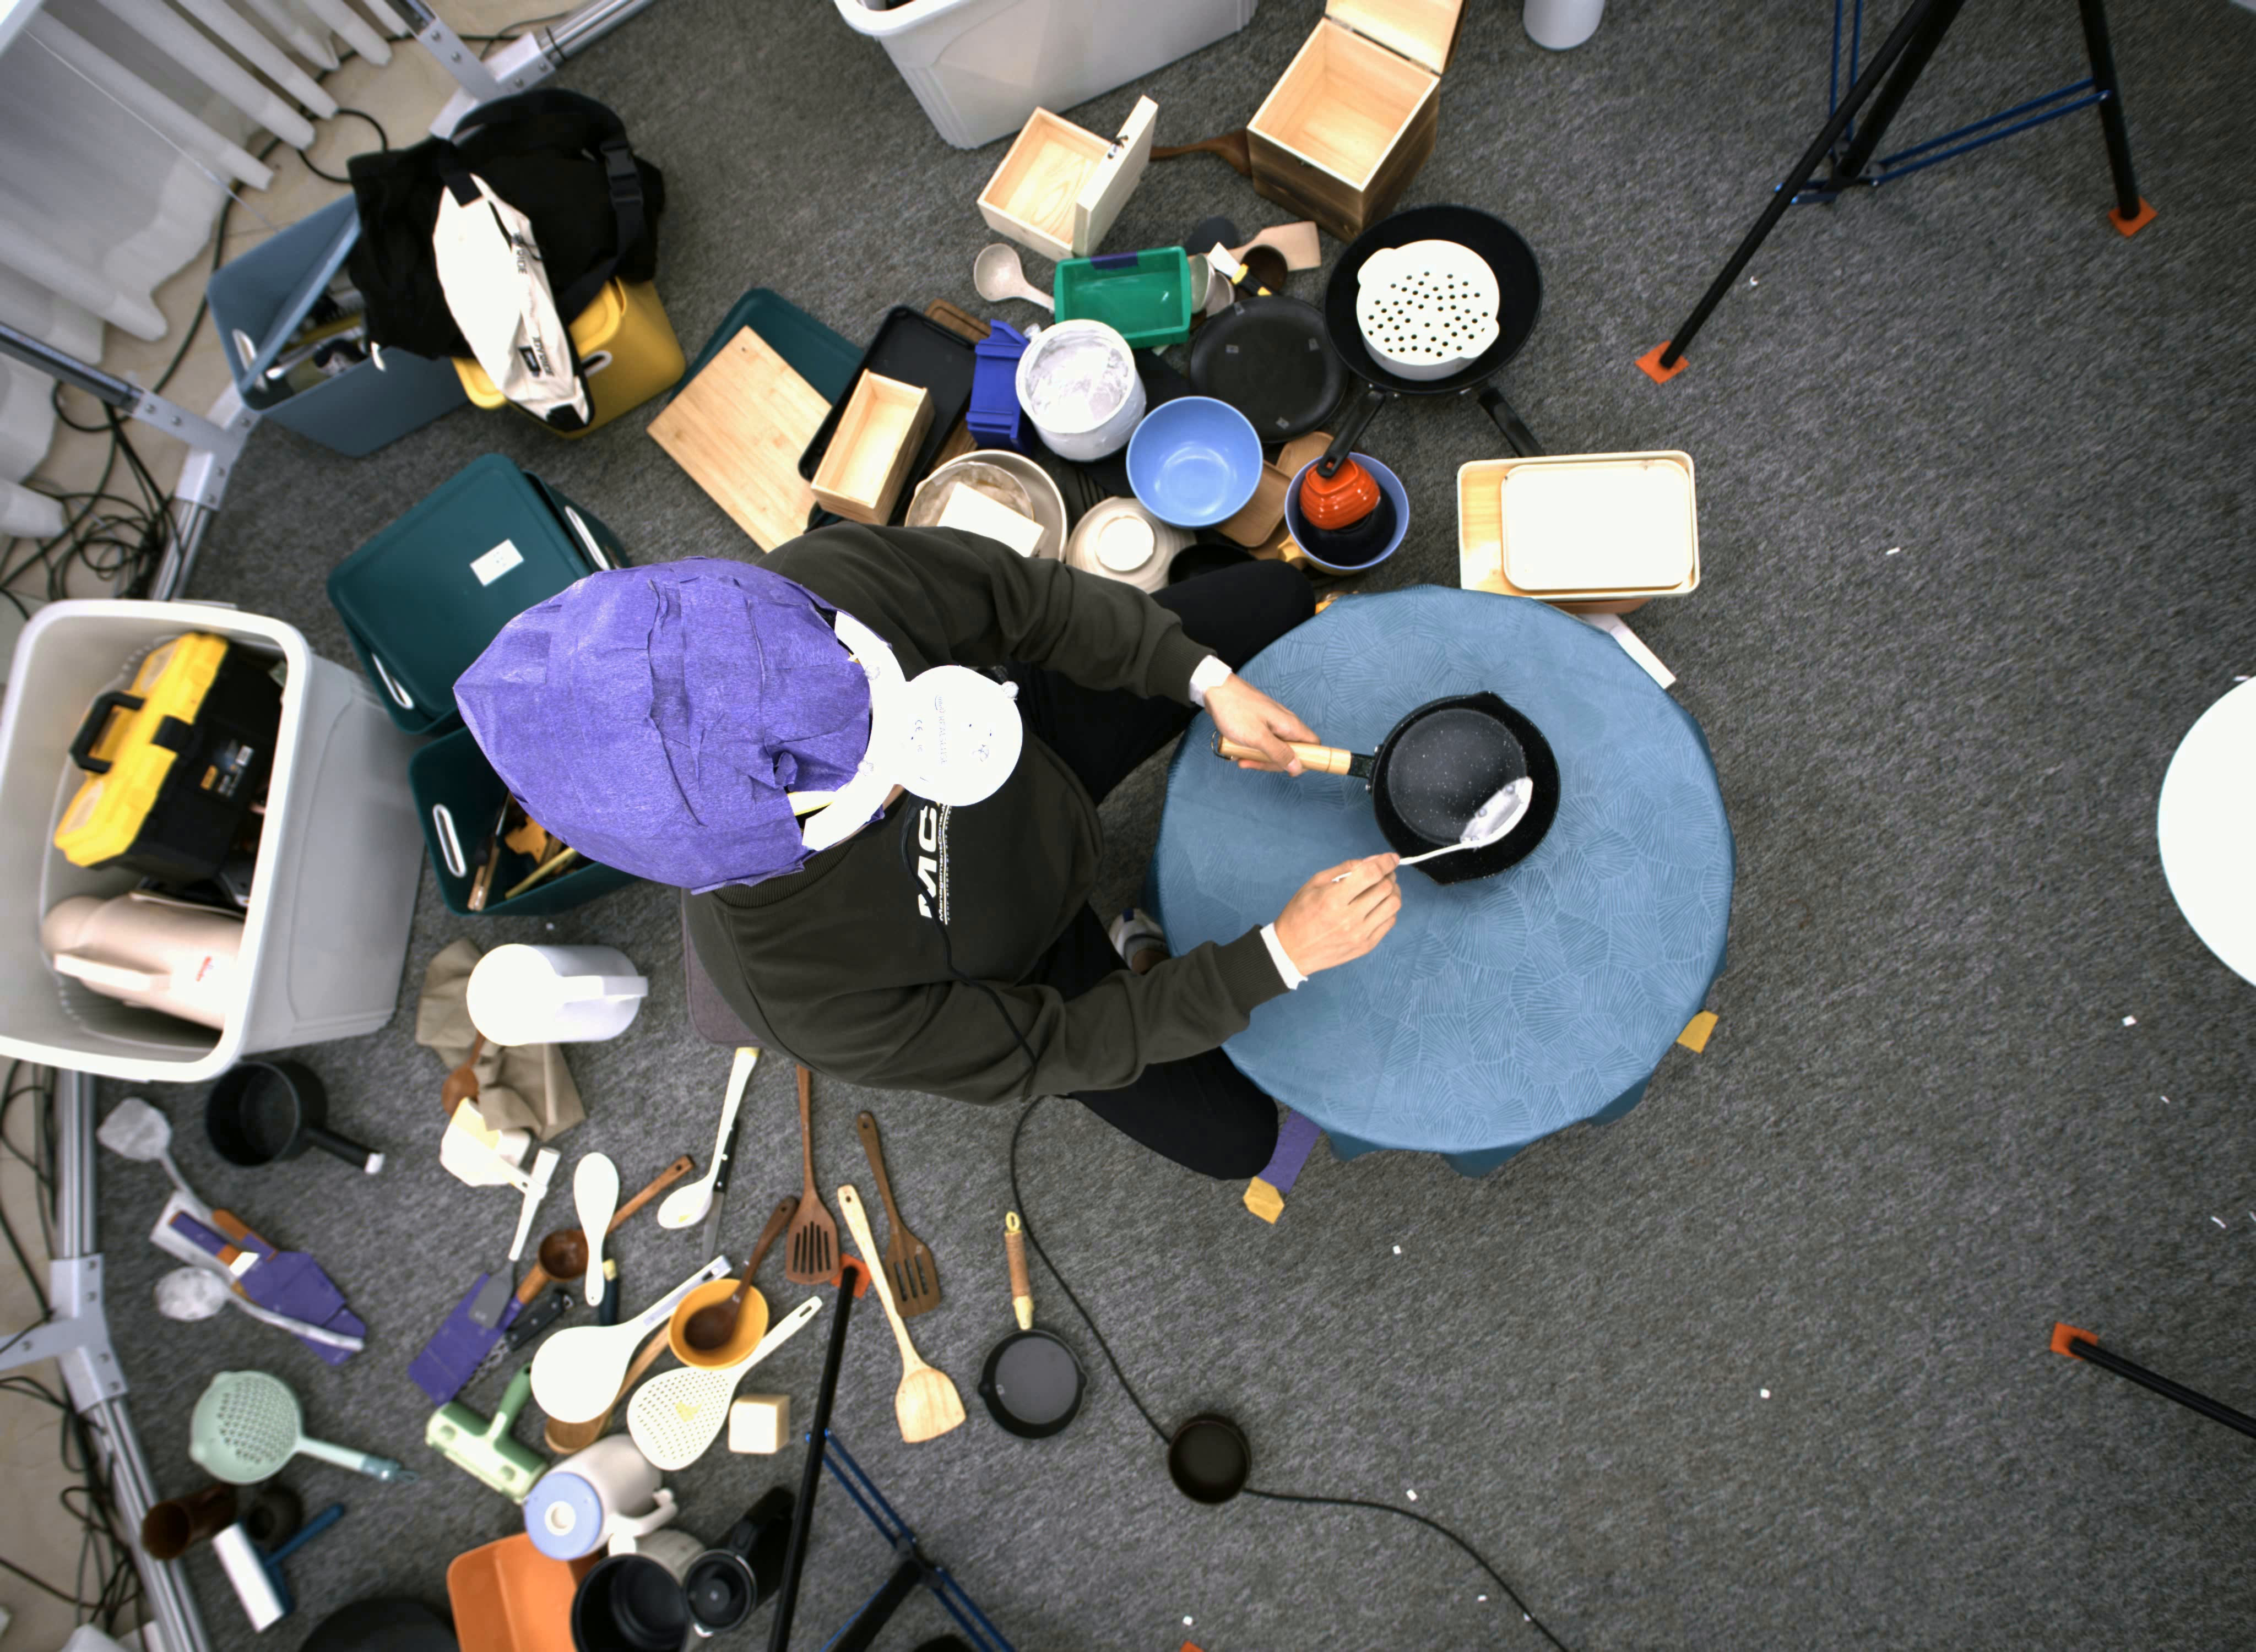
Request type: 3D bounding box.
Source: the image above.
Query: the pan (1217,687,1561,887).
[{"bbox_3d":[0.258,-0.058,1.387,0.343,0.106,0.210,11,106,3],"label":"pan"}]

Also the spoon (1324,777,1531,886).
[{"bbox_3d":[0.282,0.004,1.318,0.274,0.103,0.059,-12,74,-31],"label":"spoon"}]
